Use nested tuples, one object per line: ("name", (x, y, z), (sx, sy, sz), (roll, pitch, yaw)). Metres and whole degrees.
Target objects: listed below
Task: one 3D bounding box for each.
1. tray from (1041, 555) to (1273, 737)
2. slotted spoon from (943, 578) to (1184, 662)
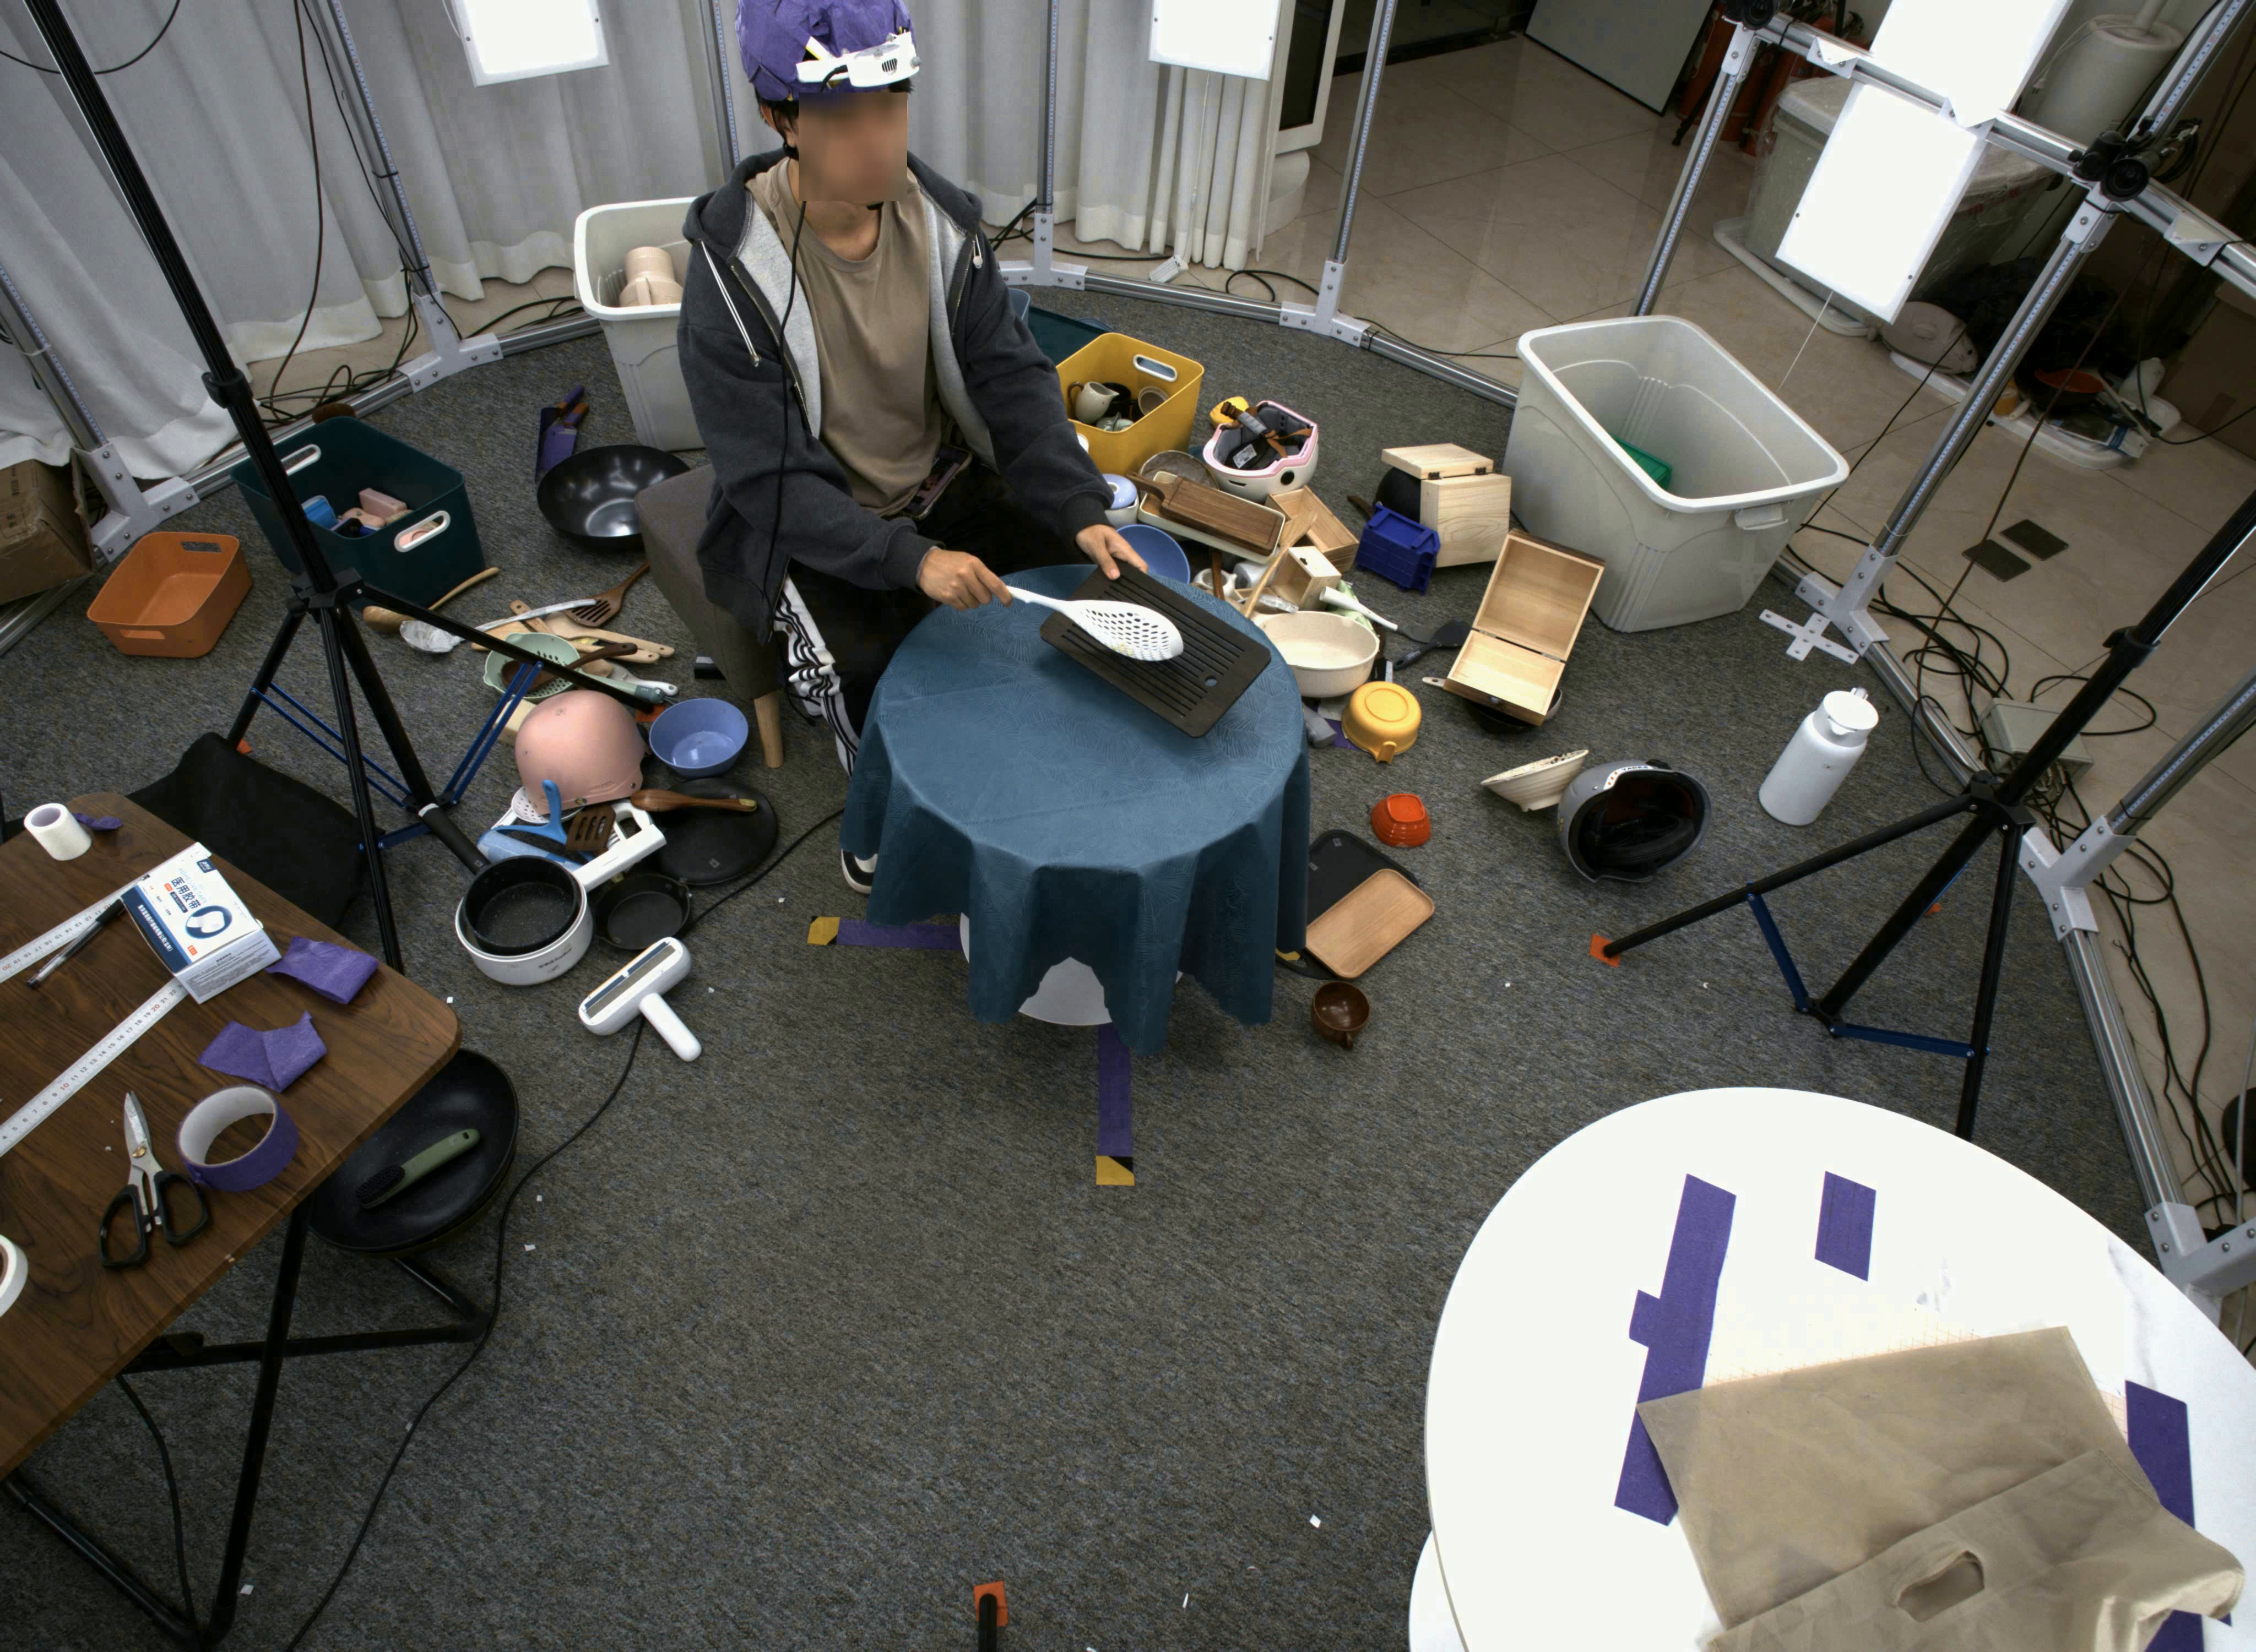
("tray", (0.038, -0.257, 1.810), (0.310, 0.018, 0.171), (35, 74, 25))
("slotted spoon", (-0.090, -0.292, 1.761), (0.350, 0.134, 0.051), (23, 76, 15))
